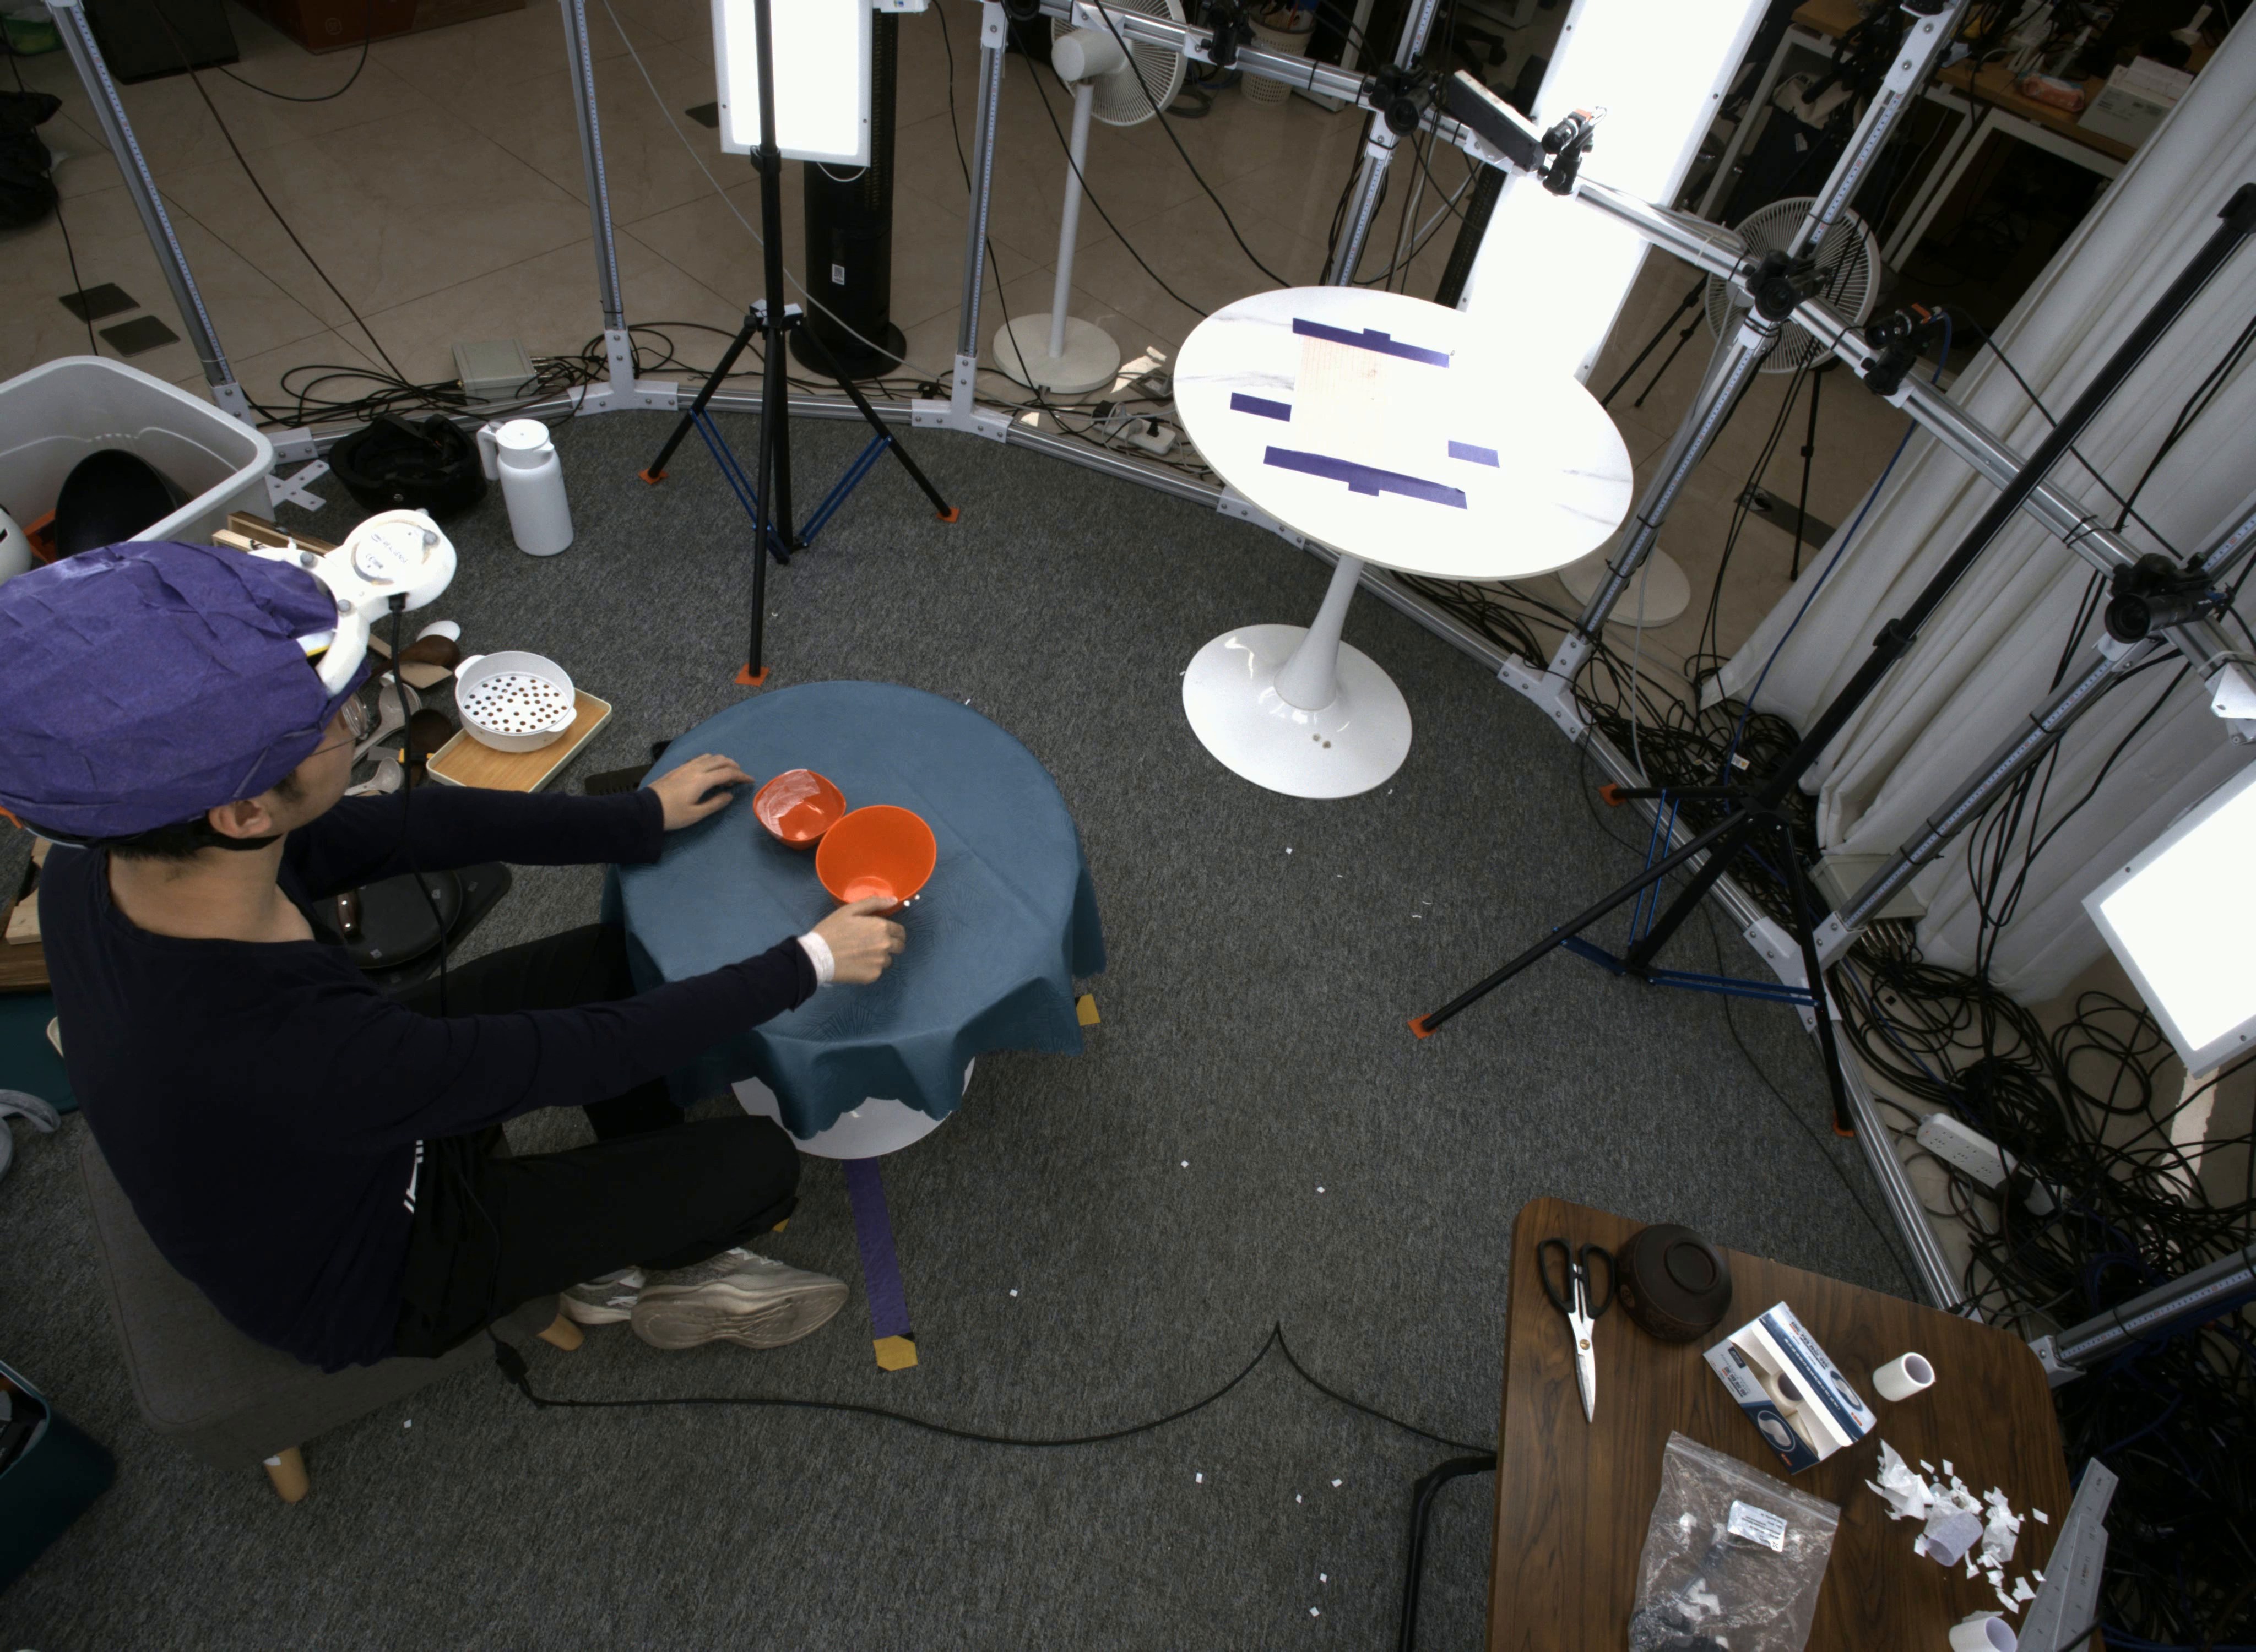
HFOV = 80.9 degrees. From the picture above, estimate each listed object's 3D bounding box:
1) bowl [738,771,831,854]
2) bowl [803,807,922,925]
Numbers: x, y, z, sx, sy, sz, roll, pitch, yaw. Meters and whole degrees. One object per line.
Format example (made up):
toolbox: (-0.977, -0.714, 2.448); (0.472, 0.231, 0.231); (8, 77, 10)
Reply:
bowl: (-0.450, -0.010, 1.705); (0.119, 0.052, 0.117); (7, 55, -9)
bowl: (-0.335, 0.063, 1.648); (0.147, 0.107, 0.145); (7, 53, -7)
